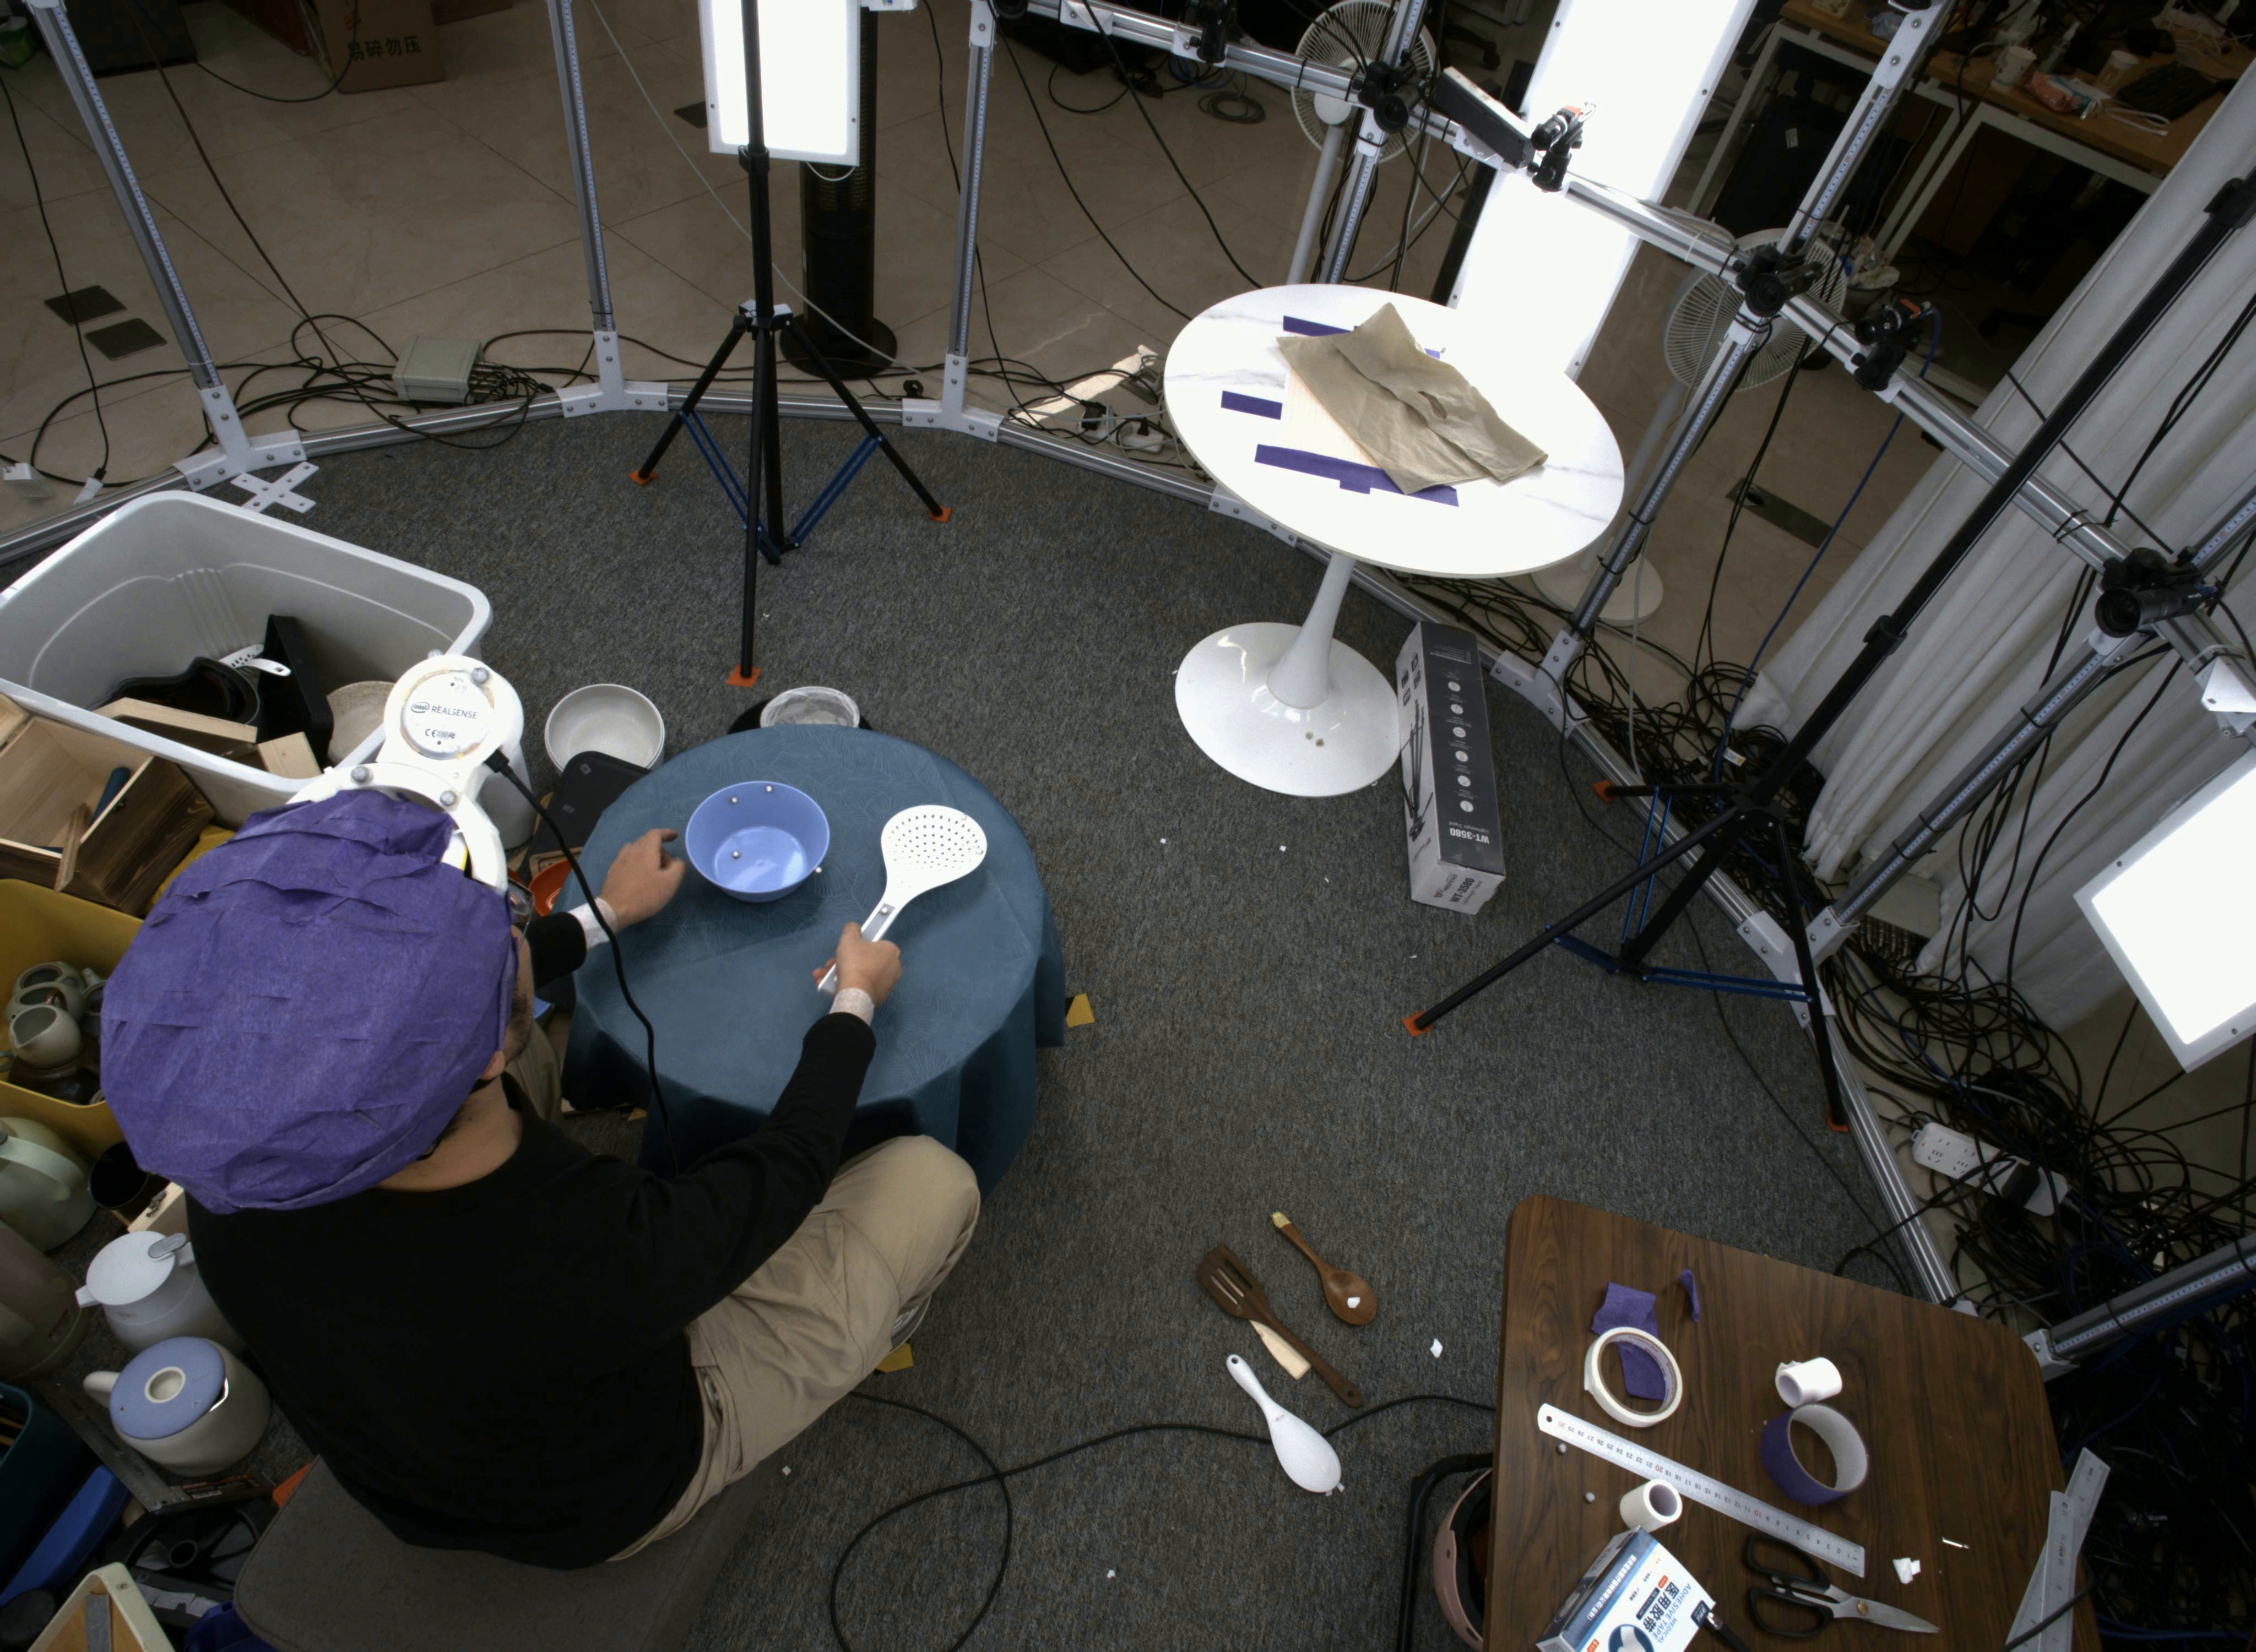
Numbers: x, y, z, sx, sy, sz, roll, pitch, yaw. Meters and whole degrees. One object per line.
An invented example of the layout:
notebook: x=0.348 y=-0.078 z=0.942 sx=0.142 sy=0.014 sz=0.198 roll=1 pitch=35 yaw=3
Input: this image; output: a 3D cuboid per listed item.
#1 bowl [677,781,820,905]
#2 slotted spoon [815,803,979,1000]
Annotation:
bowl: x=-0.477 y=0.031 z=1.637 sx=0.176 sy=0.071 sz=0.173 roll=7 pitch=53 yaw=-8
slotted spoon: x=-0.296 y=0.087 z=1.624 sx=0.134 sy=0.047 sz=0.346 roll=22 pitch=39 yaw=4
